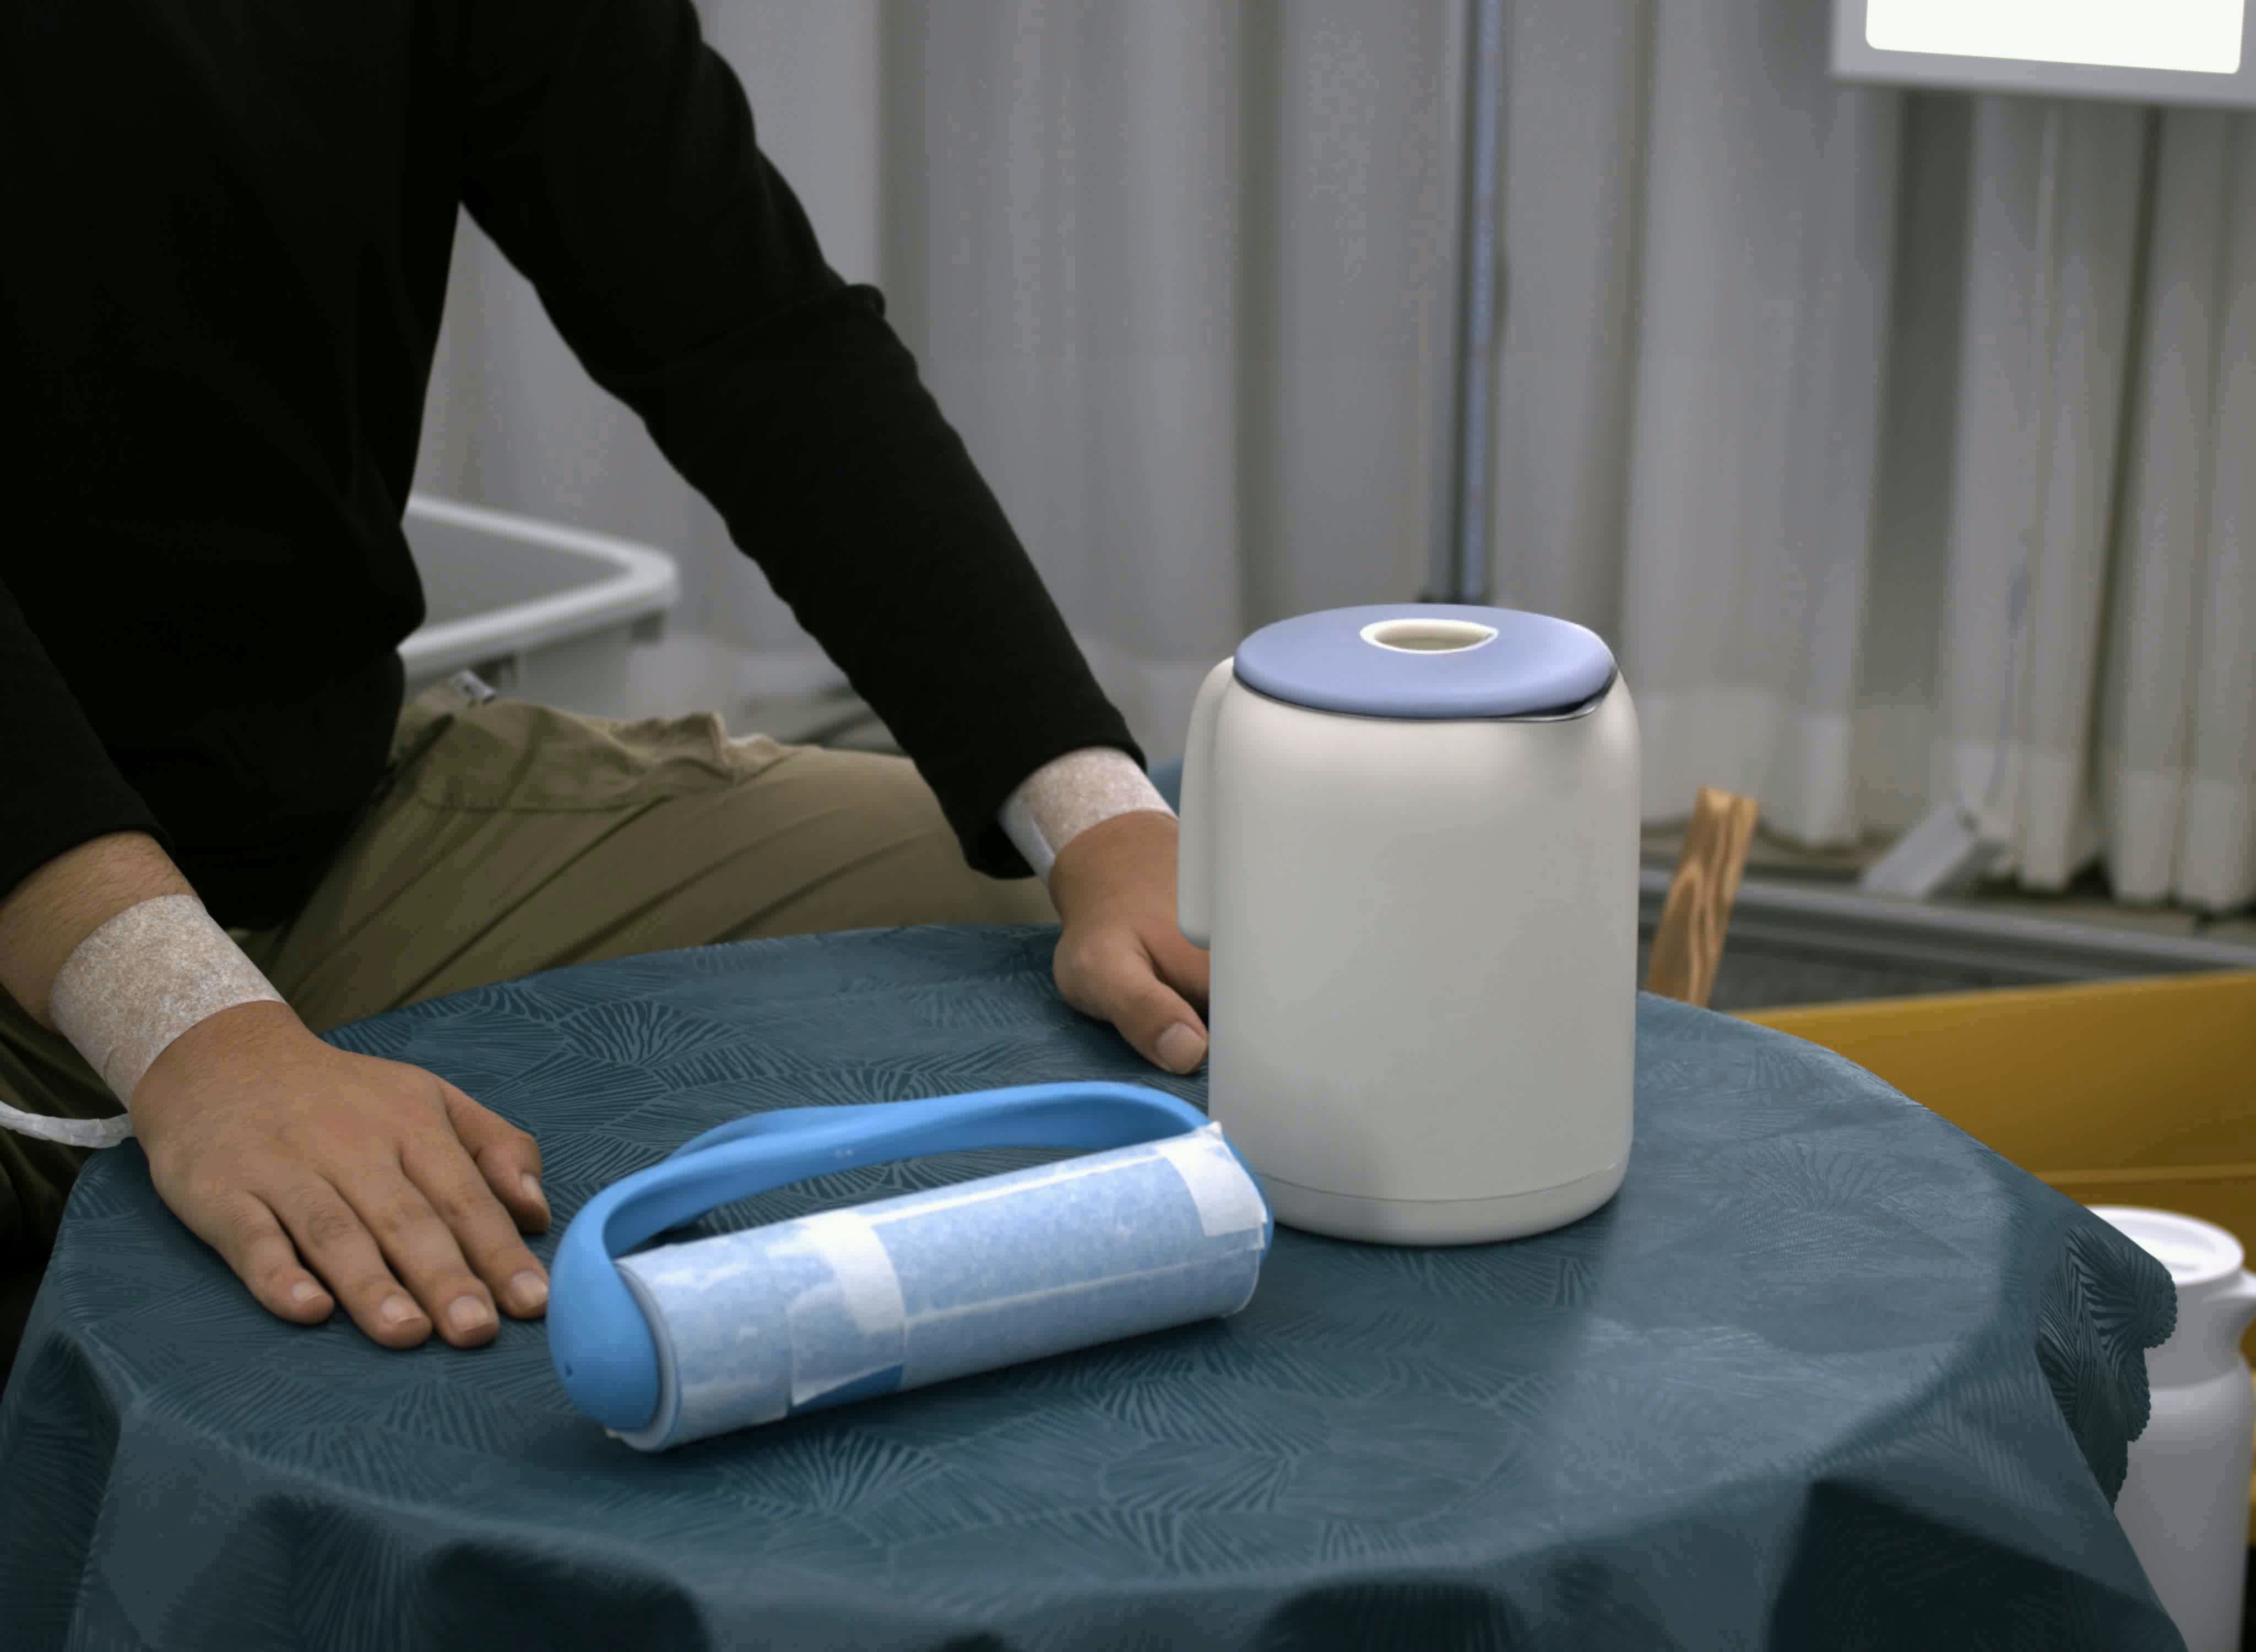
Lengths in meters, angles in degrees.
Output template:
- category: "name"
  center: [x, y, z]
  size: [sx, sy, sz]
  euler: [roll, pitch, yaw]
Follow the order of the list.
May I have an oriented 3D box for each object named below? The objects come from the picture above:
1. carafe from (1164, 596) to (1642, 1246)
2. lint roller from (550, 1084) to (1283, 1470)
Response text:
- category: "carafe"
  center: [0.075, 0.023, 1.623]
  size: [0.133, 0.184, 0.188]
  euler: [-11, 17, -37]
- category: "lint roller"
  center: [-0.089, 0.112, 1.506]
  size: [0.230, 0.068, 0.178]
  euler: [-14, 25, -34]
